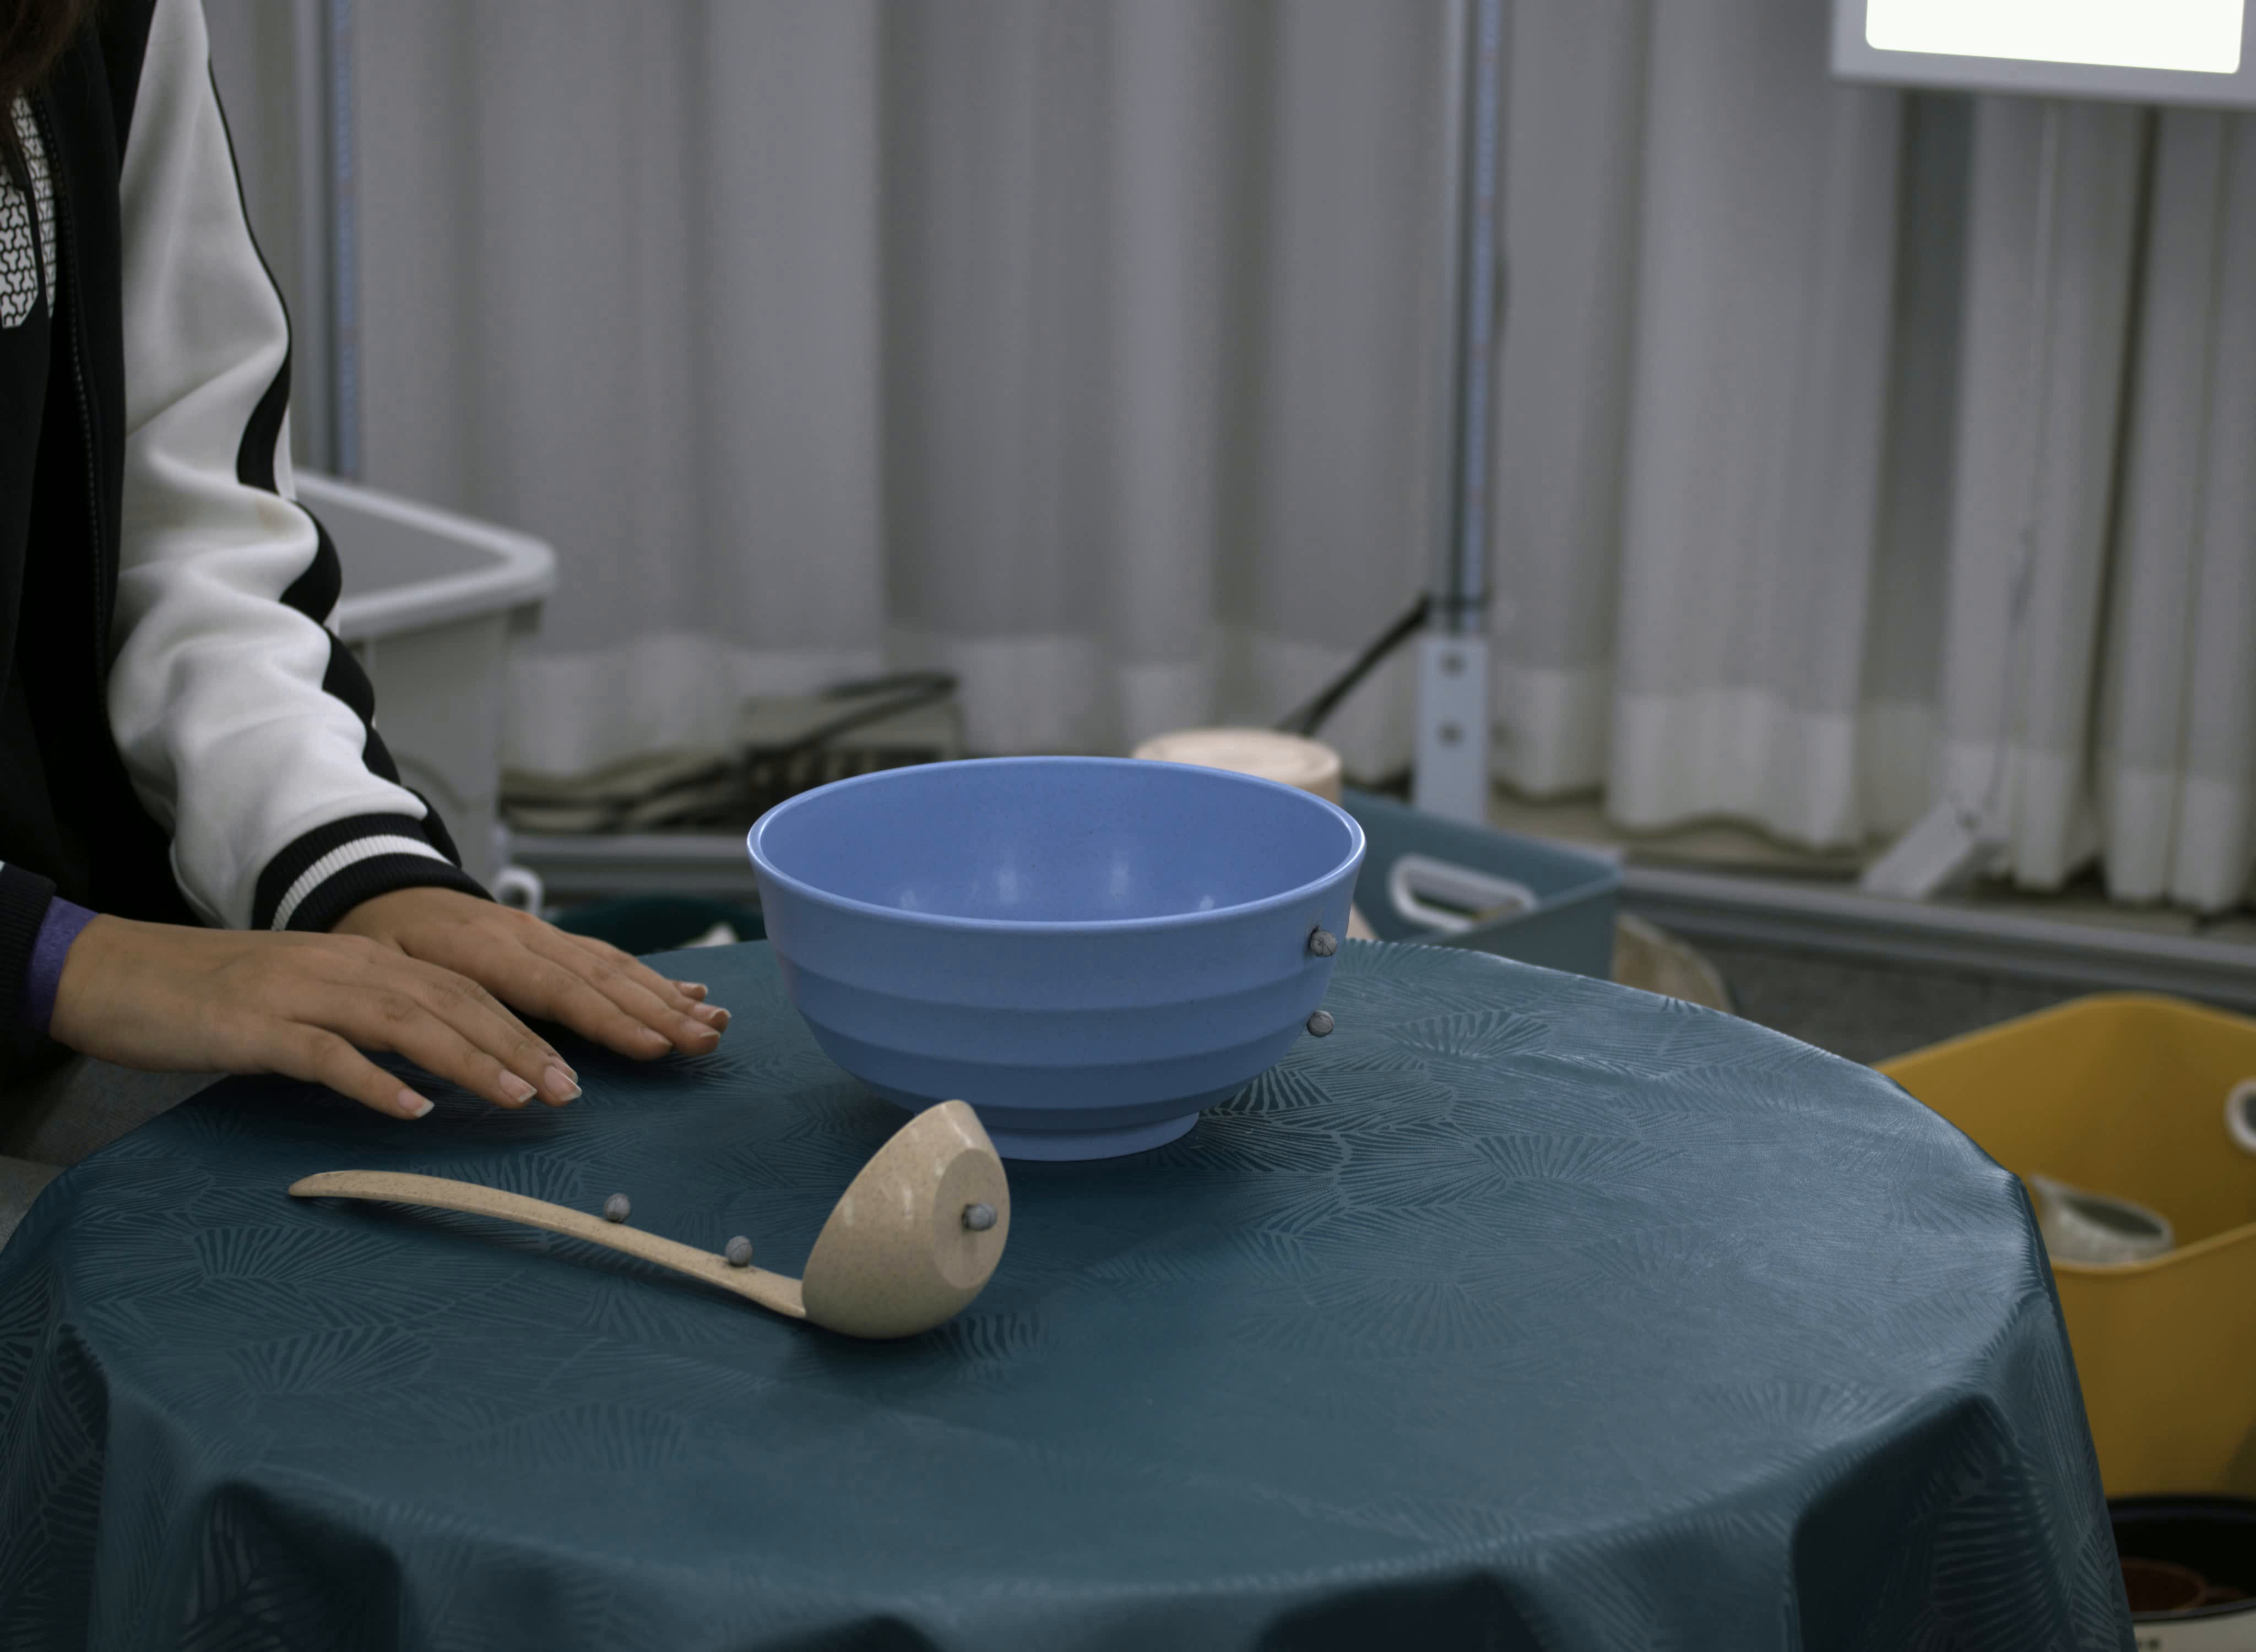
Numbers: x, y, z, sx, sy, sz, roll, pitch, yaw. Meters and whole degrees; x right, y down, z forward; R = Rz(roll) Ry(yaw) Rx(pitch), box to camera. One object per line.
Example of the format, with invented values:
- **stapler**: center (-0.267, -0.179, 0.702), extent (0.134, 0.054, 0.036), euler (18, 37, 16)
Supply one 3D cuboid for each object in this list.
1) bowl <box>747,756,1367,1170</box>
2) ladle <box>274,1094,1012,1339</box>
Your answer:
- **bowl**: center (-0.022, 0.050, 1.678), extent (0.196, 0.096, 0.195), euler (0, 17, 1)
- **ladle**: center (-0.150, 0.096, 1.538), extent (0.251, 0.073, 0.072), euler (9, 17, 29)
